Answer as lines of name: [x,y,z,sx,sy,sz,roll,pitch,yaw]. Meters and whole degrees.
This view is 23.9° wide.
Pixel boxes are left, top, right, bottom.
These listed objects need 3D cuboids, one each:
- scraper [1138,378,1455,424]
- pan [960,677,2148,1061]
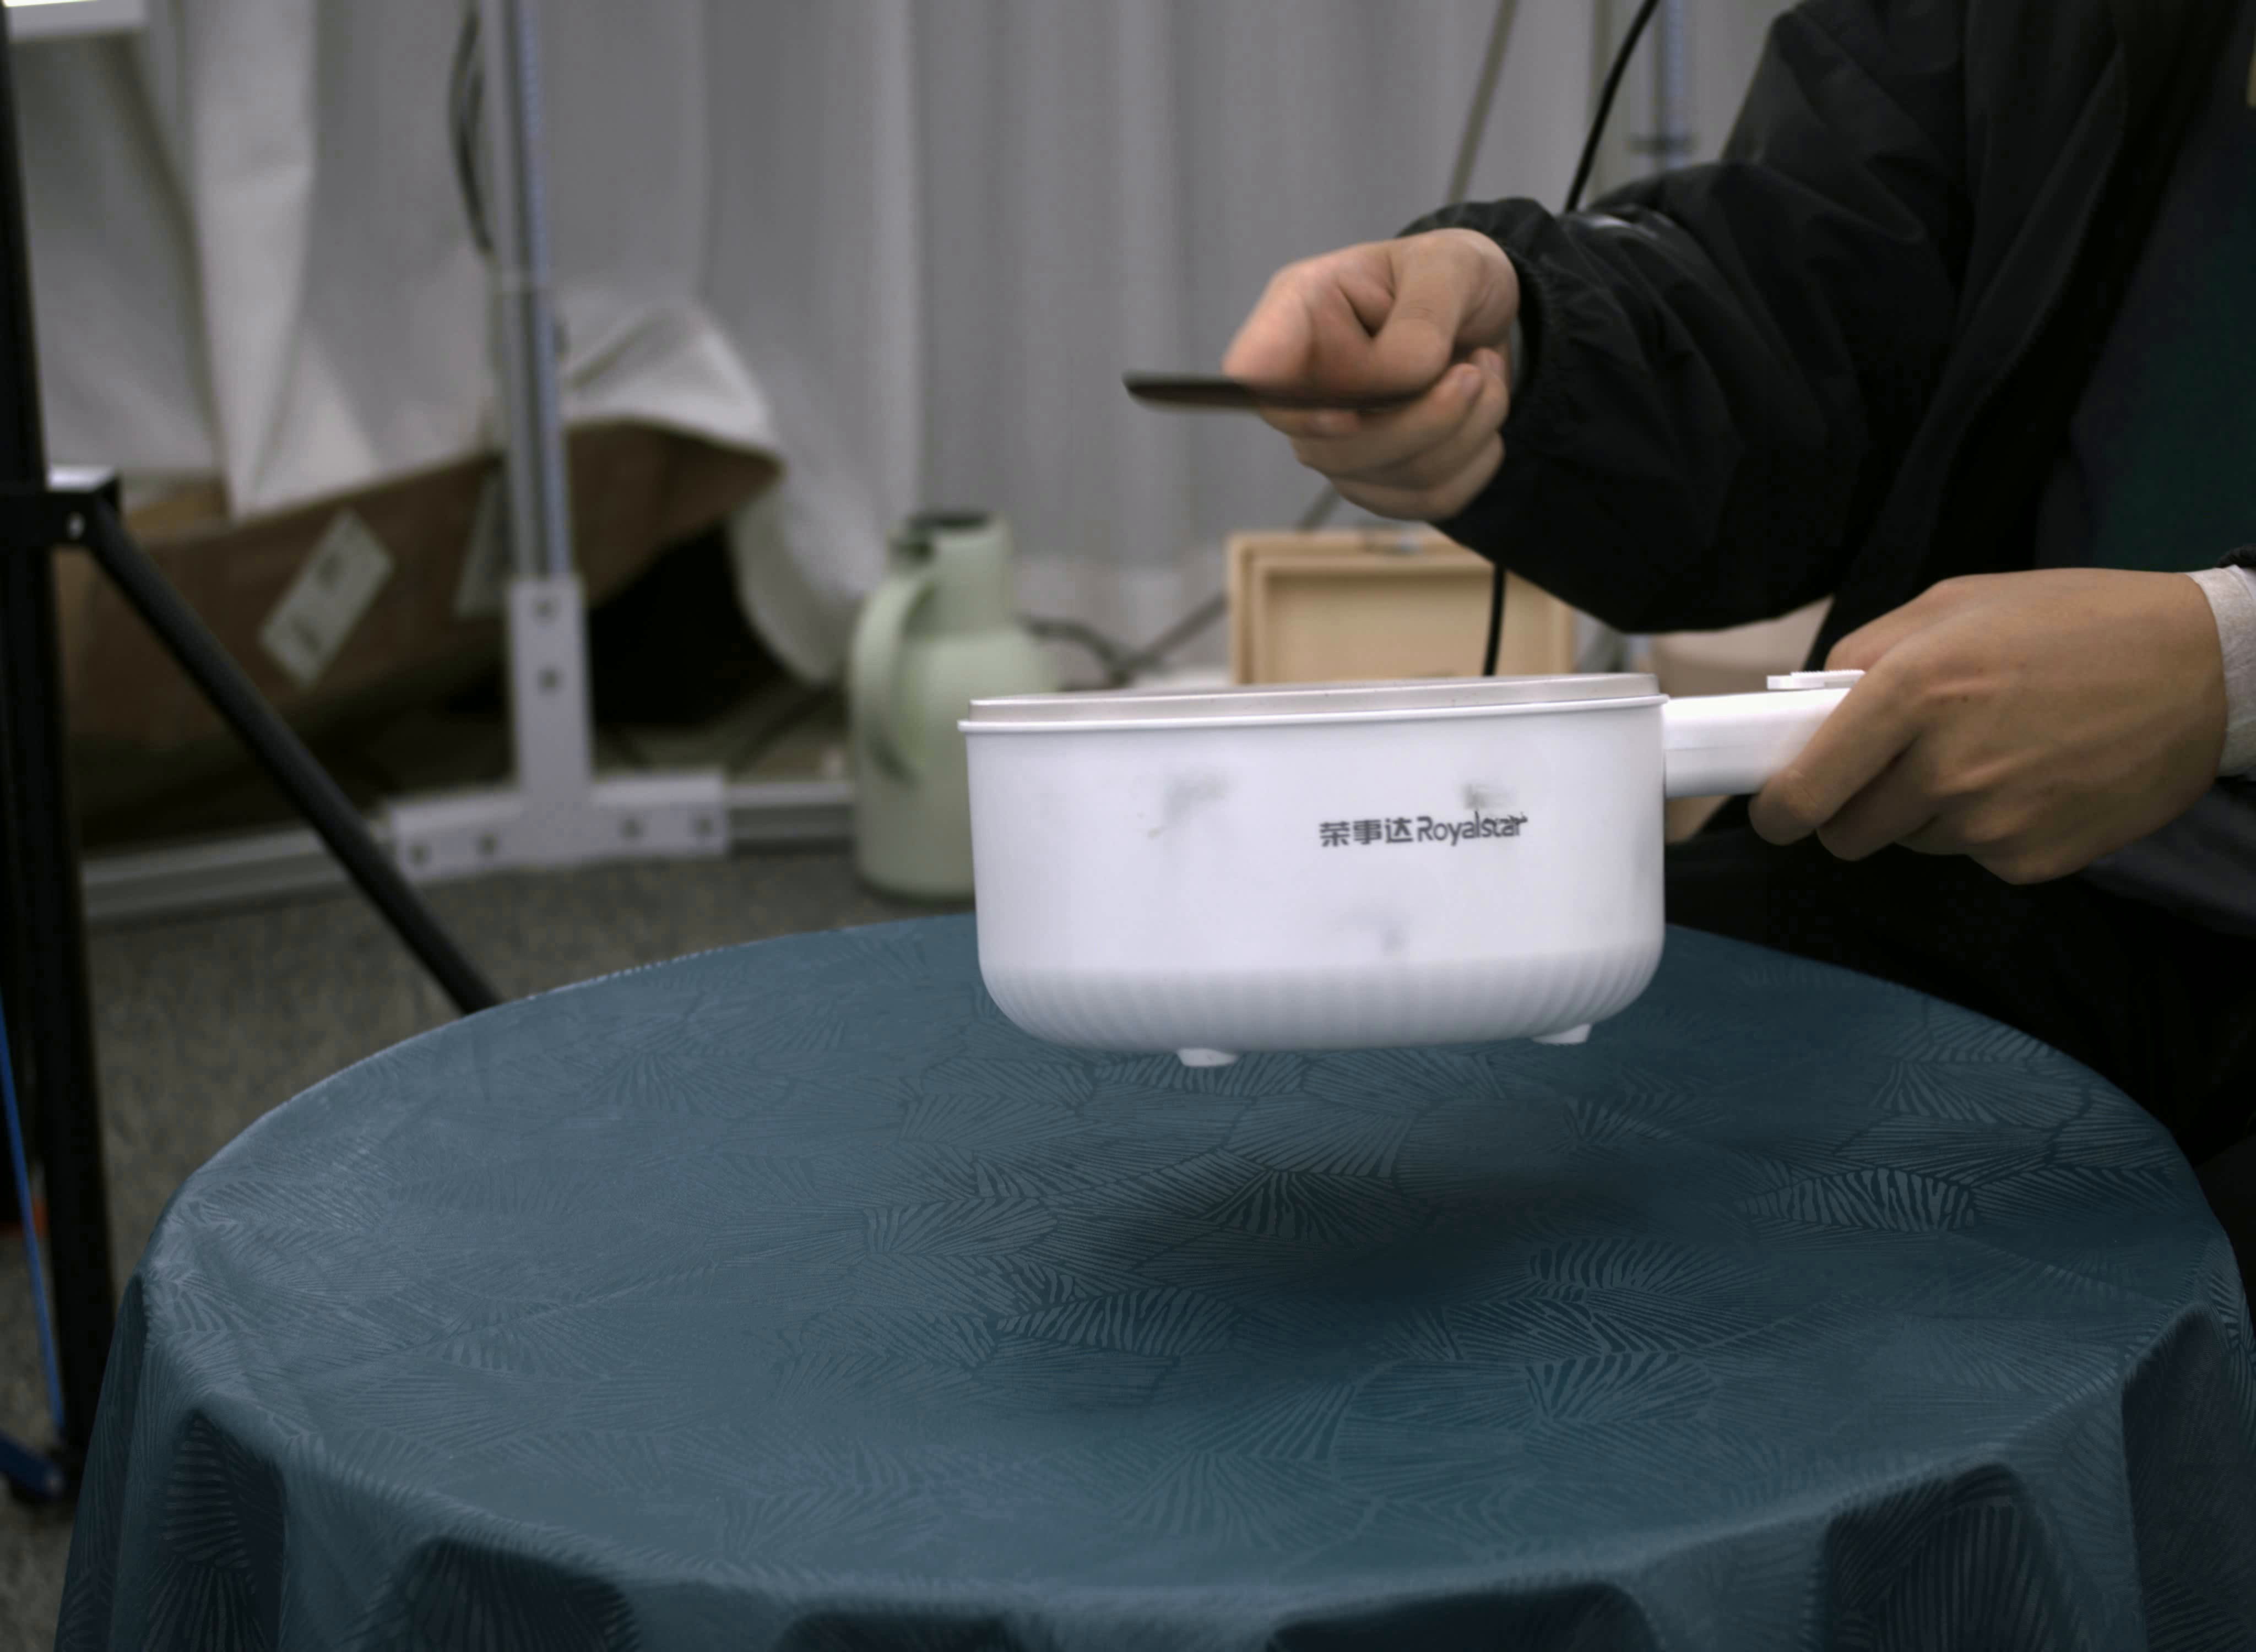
scraper: [0.063,-0.126,1.575,0.076,0.011,0.209,-3,5,16]
pan: [0.126,0.010,1.520,0.349,0.102,0.203,-1,1,-16]
